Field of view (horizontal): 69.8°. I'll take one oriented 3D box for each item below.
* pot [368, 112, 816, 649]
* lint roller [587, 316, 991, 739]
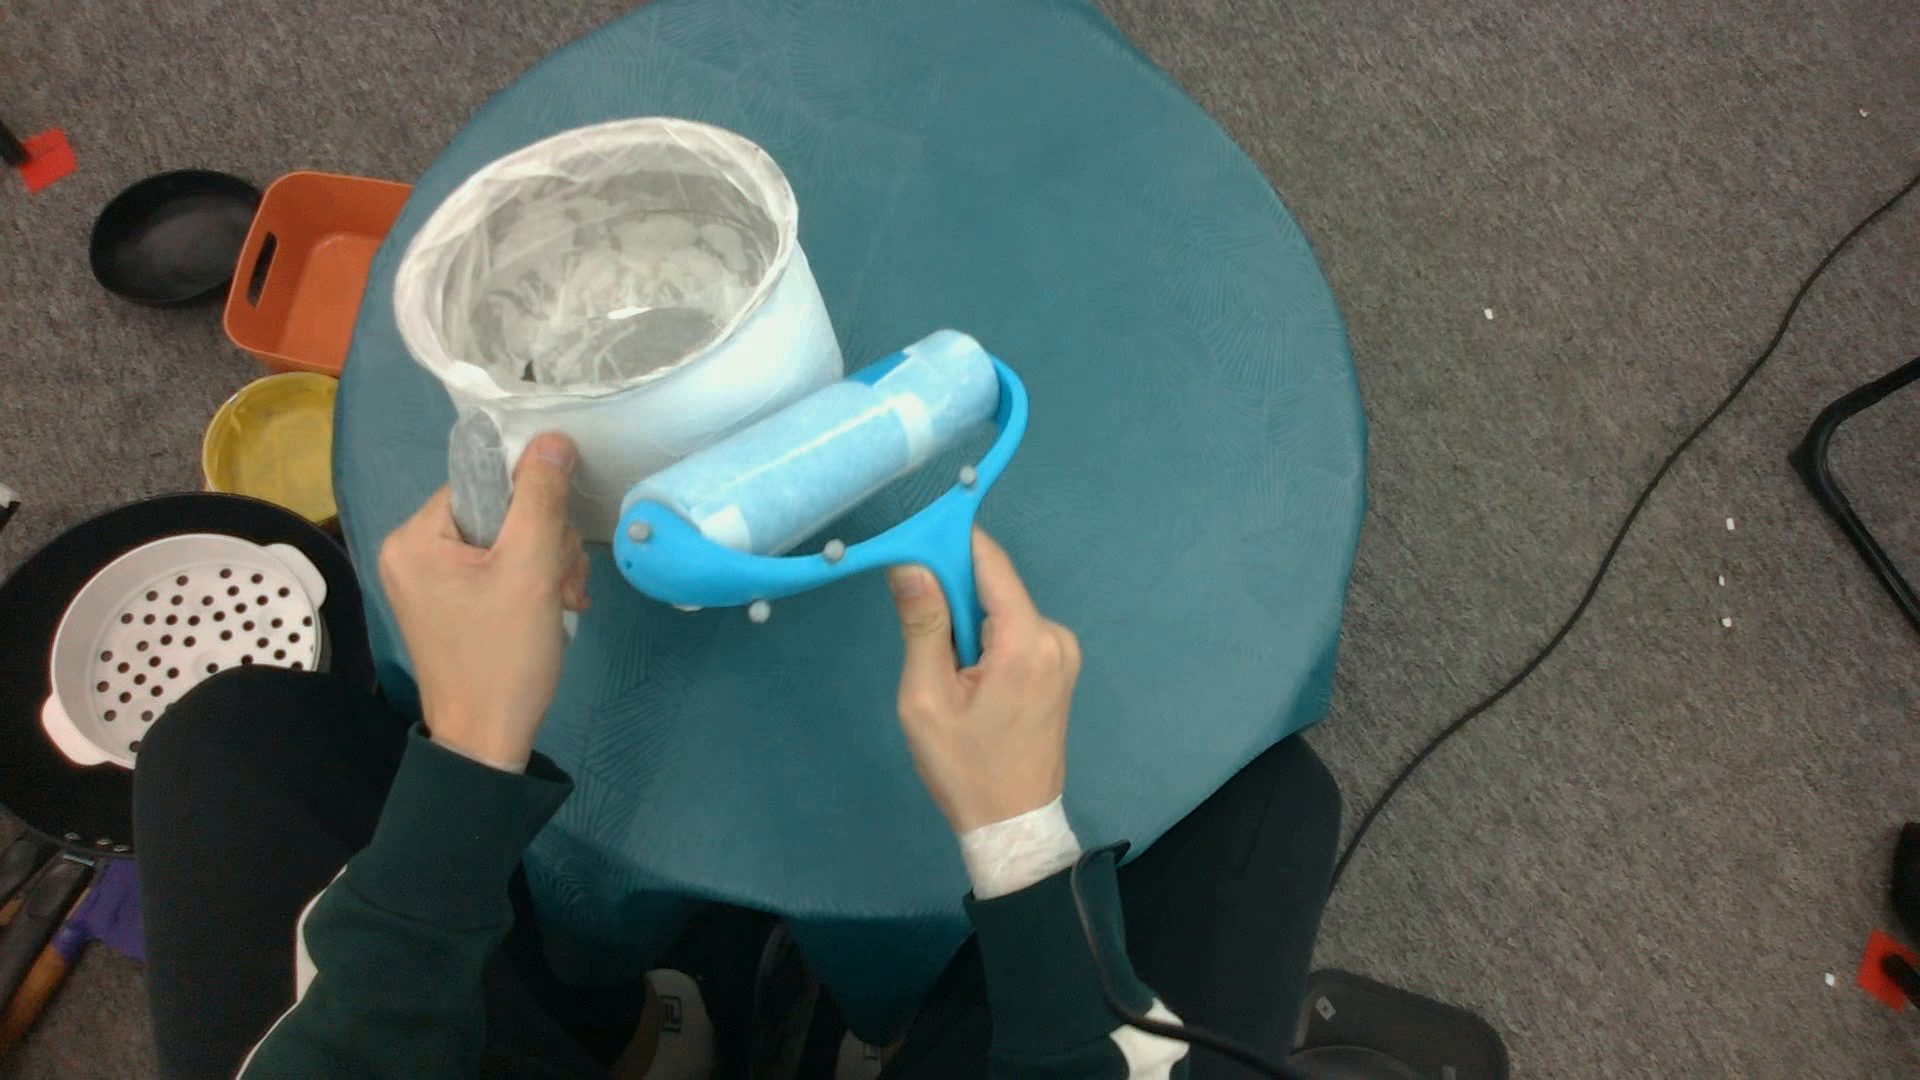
[{"bbox_3d":[-0.169,-0.071,0.631,0.178,0.136,0.235,9,56,15],"label":"pot"},{"bbox_3d":[-0.035,0.004,0.608,0.180,0.067,0.230,51,44,-3],"label":"lint roller"}]
